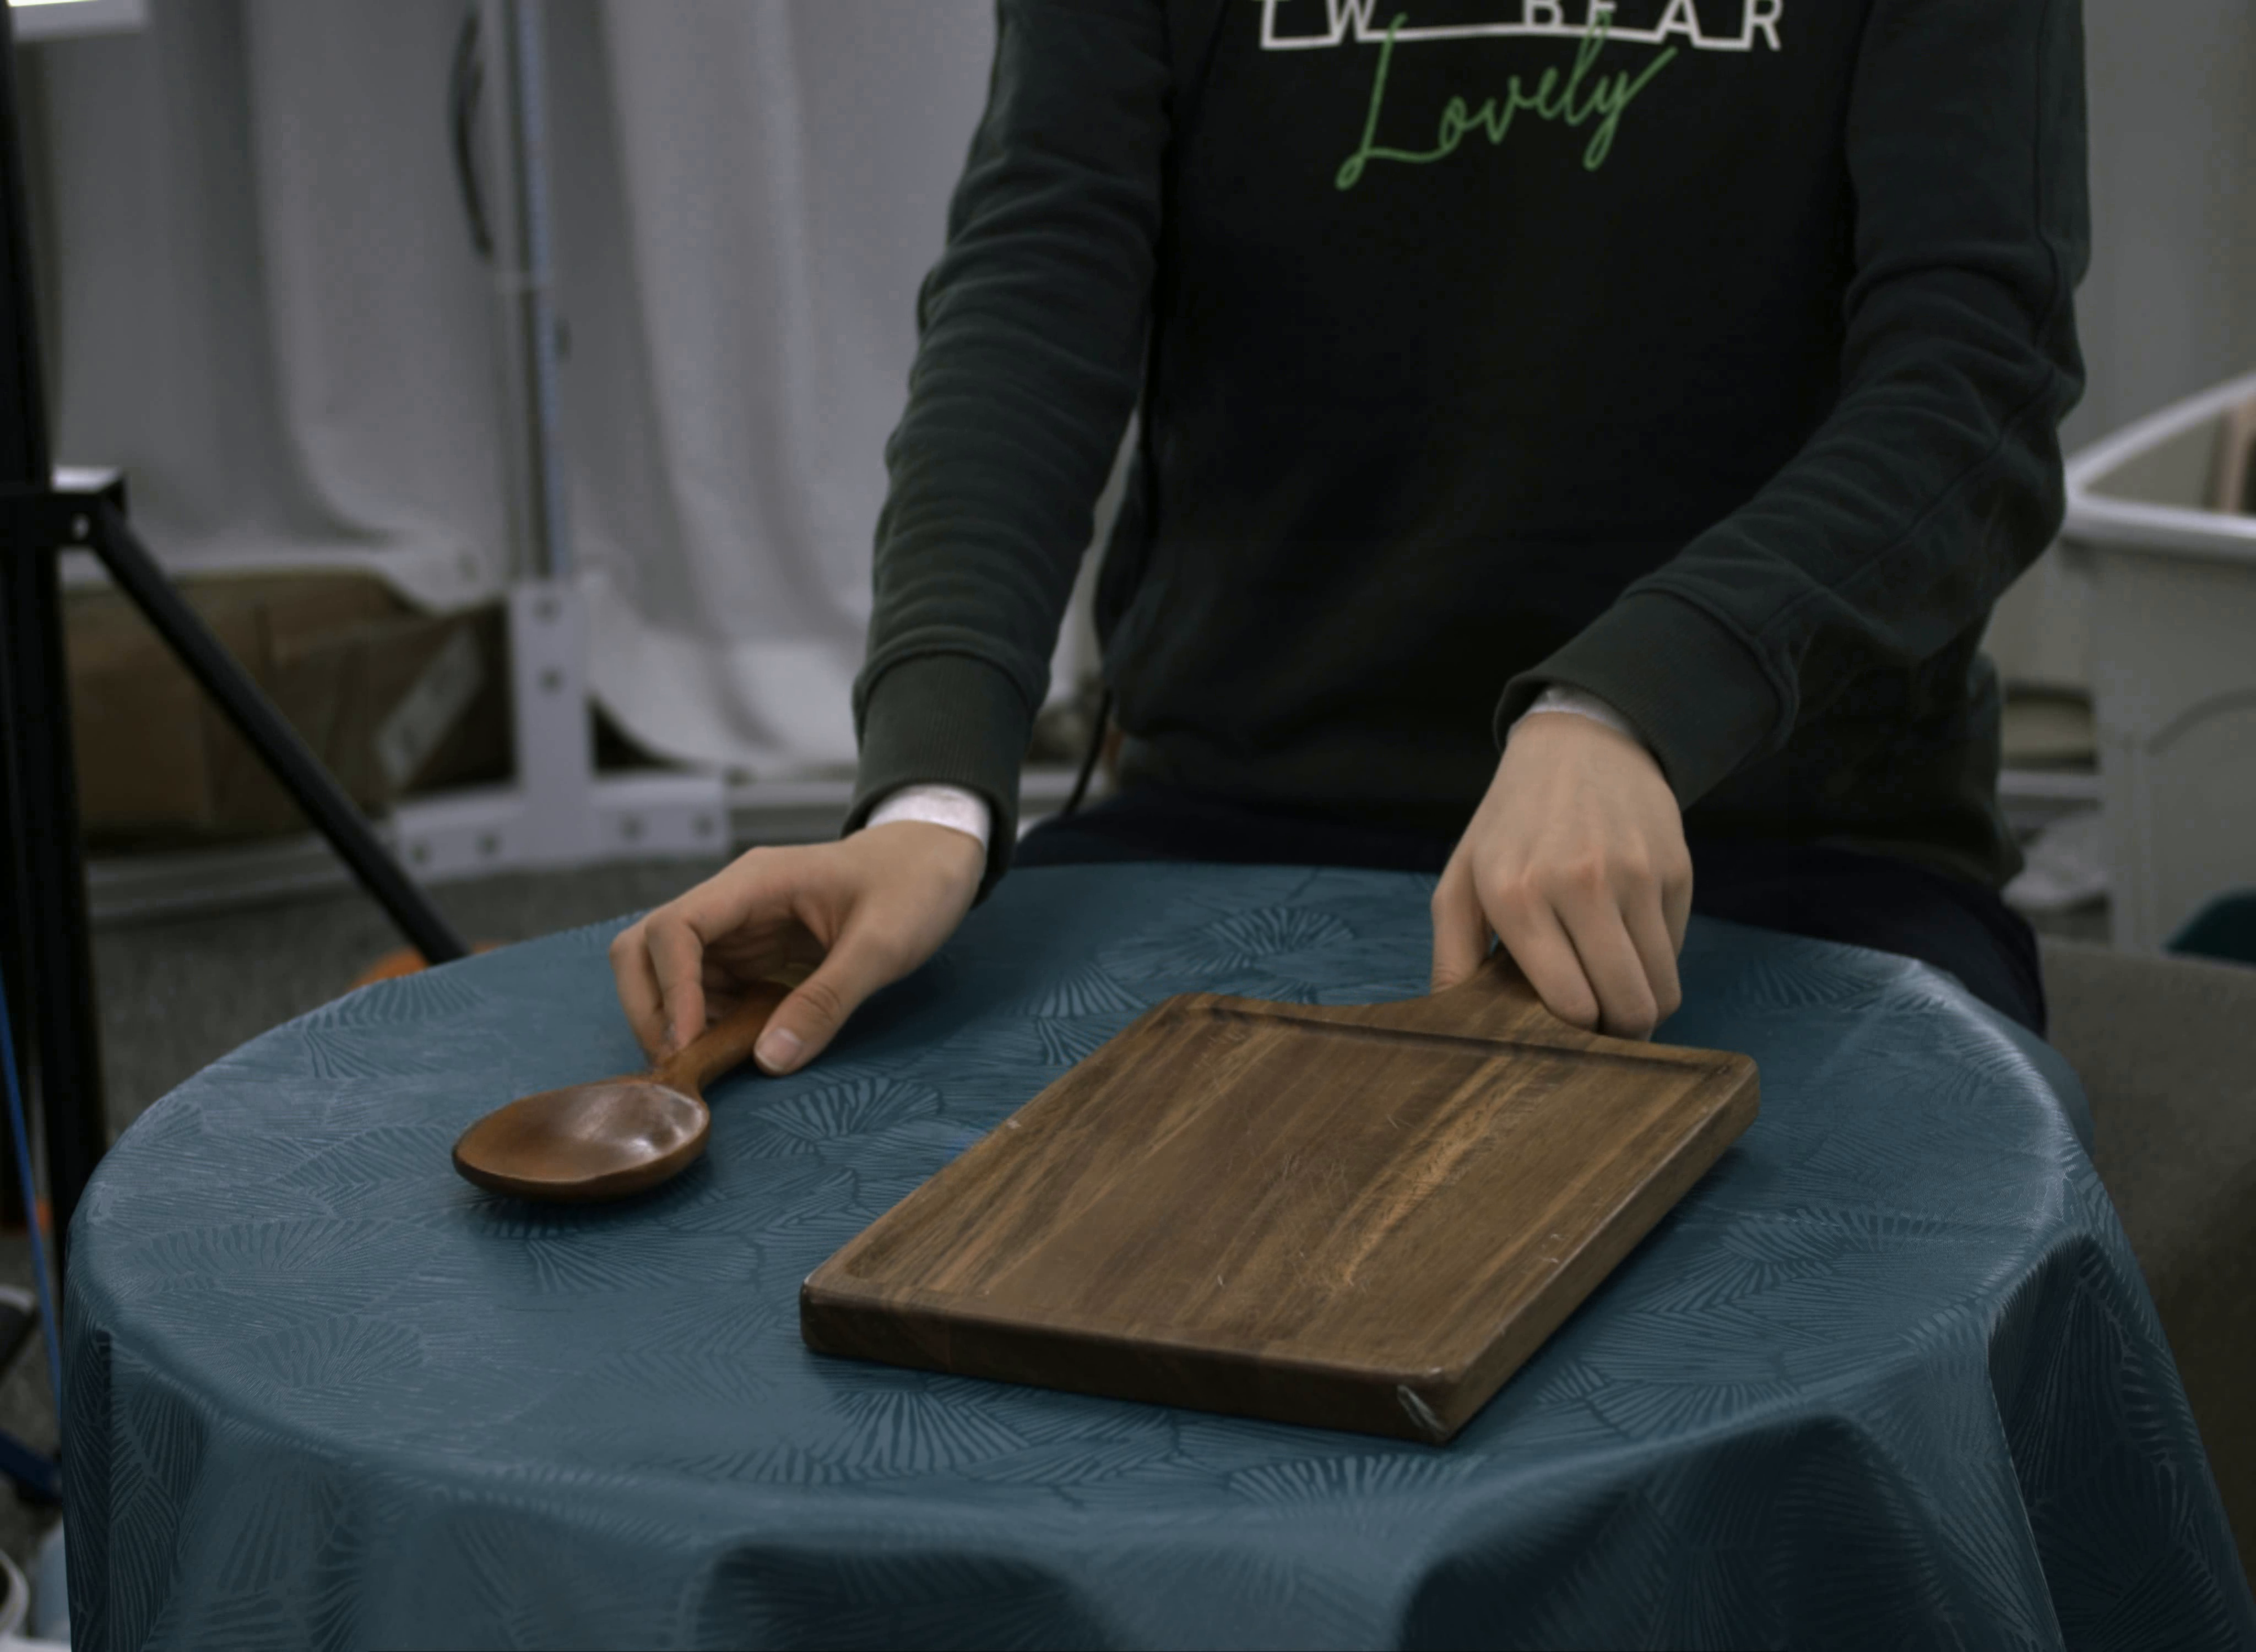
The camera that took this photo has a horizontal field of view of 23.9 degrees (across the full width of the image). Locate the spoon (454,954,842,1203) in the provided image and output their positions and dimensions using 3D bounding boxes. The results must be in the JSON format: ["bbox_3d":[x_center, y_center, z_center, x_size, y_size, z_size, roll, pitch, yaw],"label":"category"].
[{"bbox_3d":[-0.138,0.079,1.648,0.076,0.017,0.213,1,17,22],"label":"spoon"}]

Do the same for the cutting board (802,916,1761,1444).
[{"bbox_3d":[0.070,0.092,1.544,0.204,0.023,0.347,4,20,26],"label":"cutting board"}]
